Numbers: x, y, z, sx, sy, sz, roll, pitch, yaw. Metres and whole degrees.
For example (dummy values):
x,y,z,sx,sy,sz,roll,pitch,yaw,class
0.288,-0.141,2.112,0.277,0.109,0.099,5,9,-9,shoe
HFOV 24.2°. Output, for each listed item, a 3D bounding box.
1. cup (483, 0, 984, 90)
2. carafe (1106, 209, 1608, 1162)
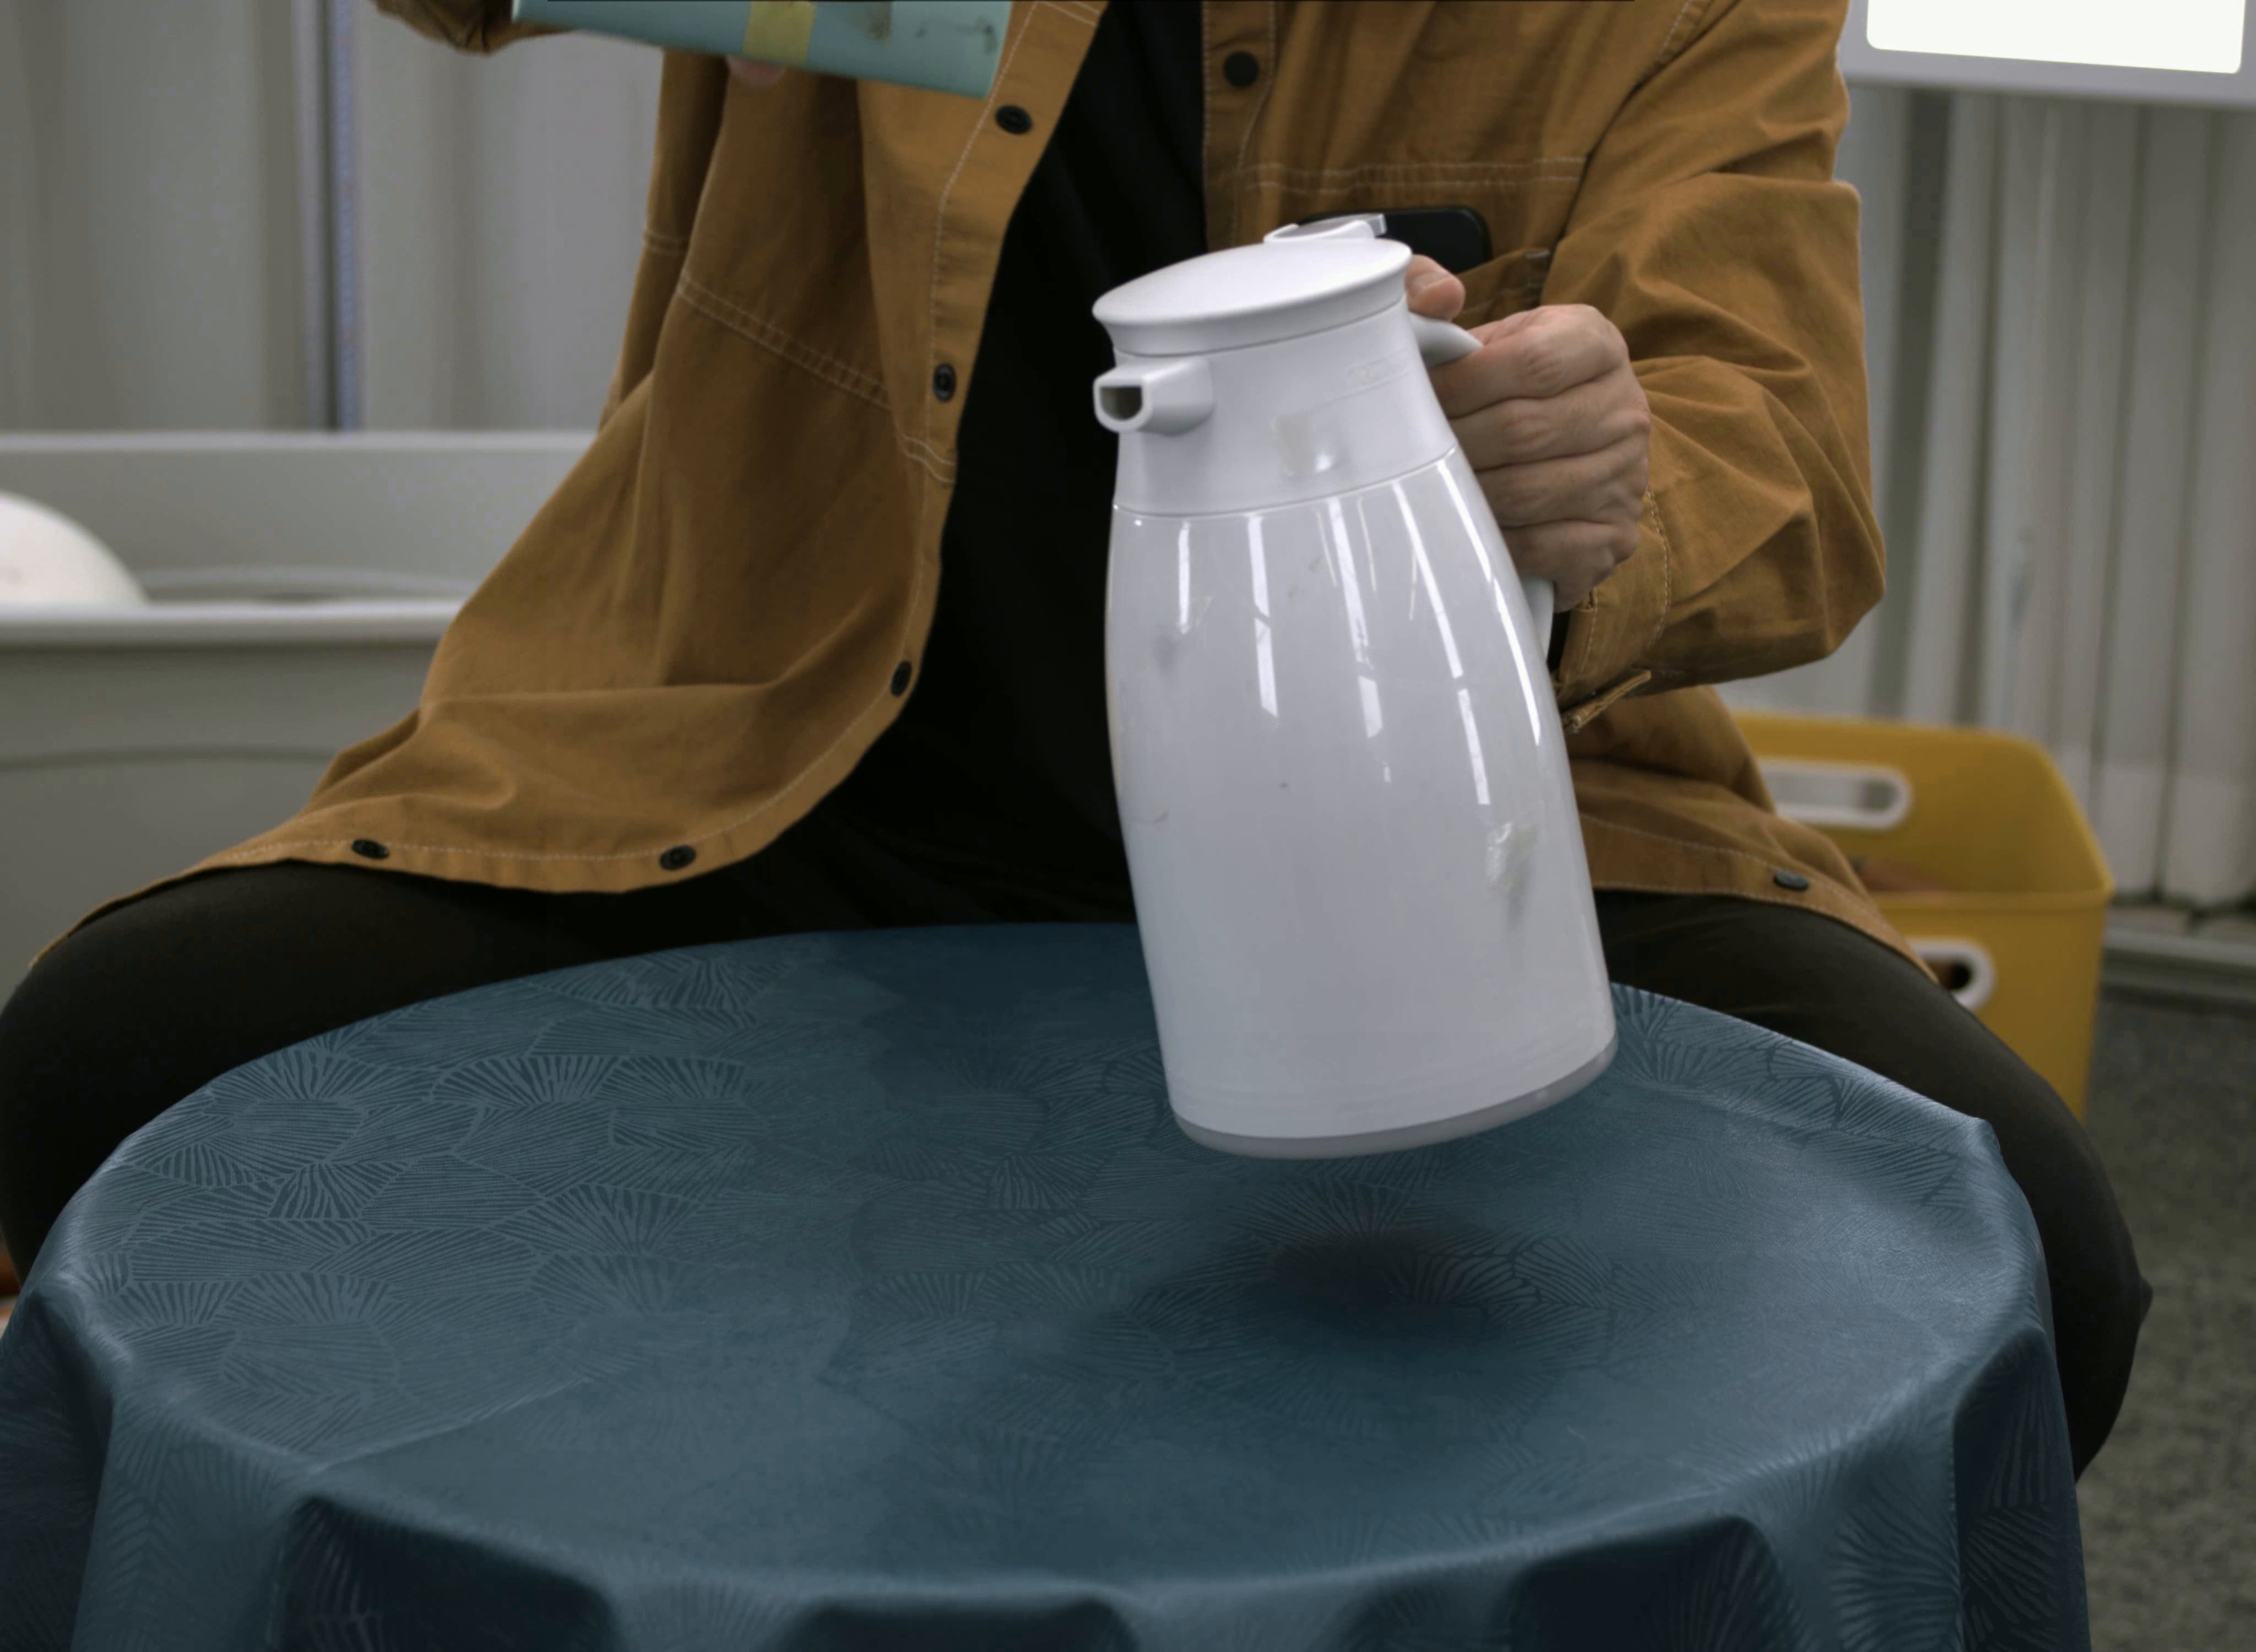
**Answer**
x,y,z,sx,sy,sz,roll,pitch,yaw,class
-0.105,-0.241,1.420,0.132,0.067,0.066,7,15,-10,cup
0.067,-0.048,1.512,0.131,0.251,0.168,5,21,41,carafe
